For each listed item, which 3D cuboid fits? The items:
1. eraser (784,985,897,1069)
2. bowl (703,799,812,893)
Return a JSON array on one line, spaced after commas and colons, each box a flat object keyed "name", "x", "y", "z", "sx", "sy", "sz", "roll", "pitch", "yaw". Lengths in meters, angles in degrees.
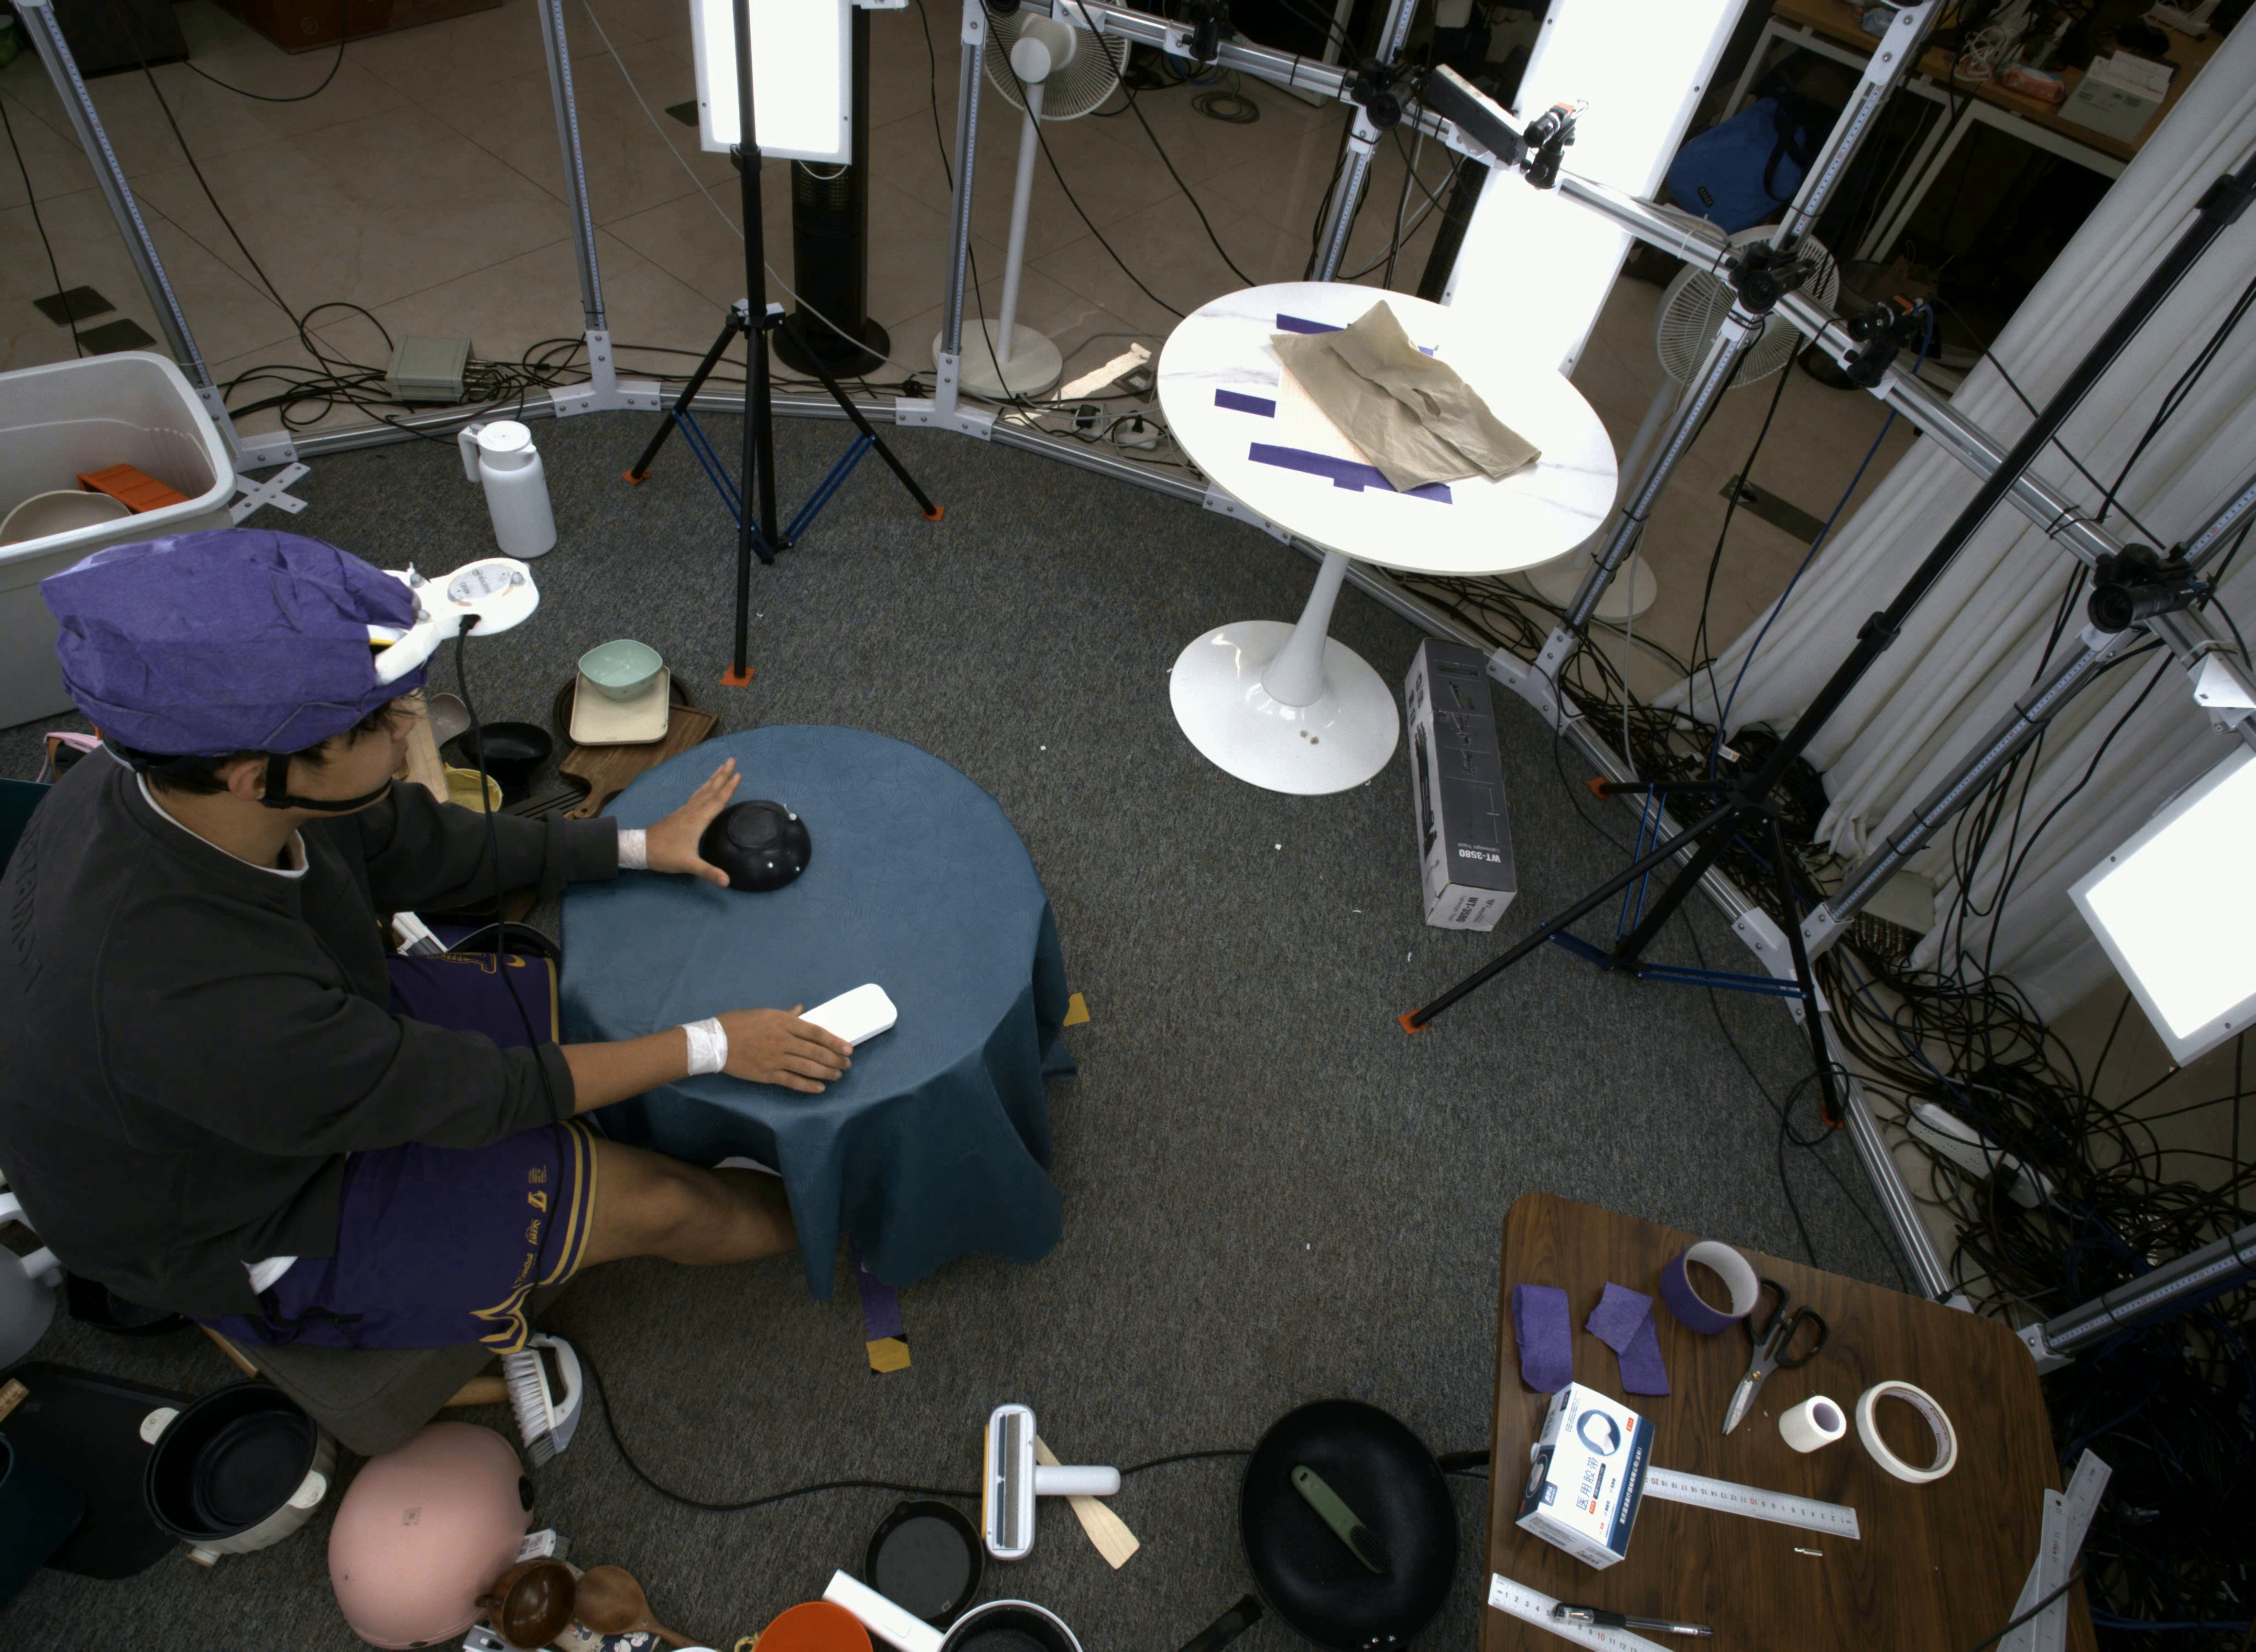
[{"name": "eraser", "x": -0.344, "y": 0.236, "z": 1.553, "sx": 0.132, "sy": 0.035, "sz": 0.062, "roll": -23, "pitch": 61, "yaw": -30}, {"name": "bowl", "x": -0.480, "y": 0.014, "z": 1.670, "sx": 0.140, "sy": 0.050, "sz": 0.137, "roll": 9, "pitch": 53, "yaw": -10}]
